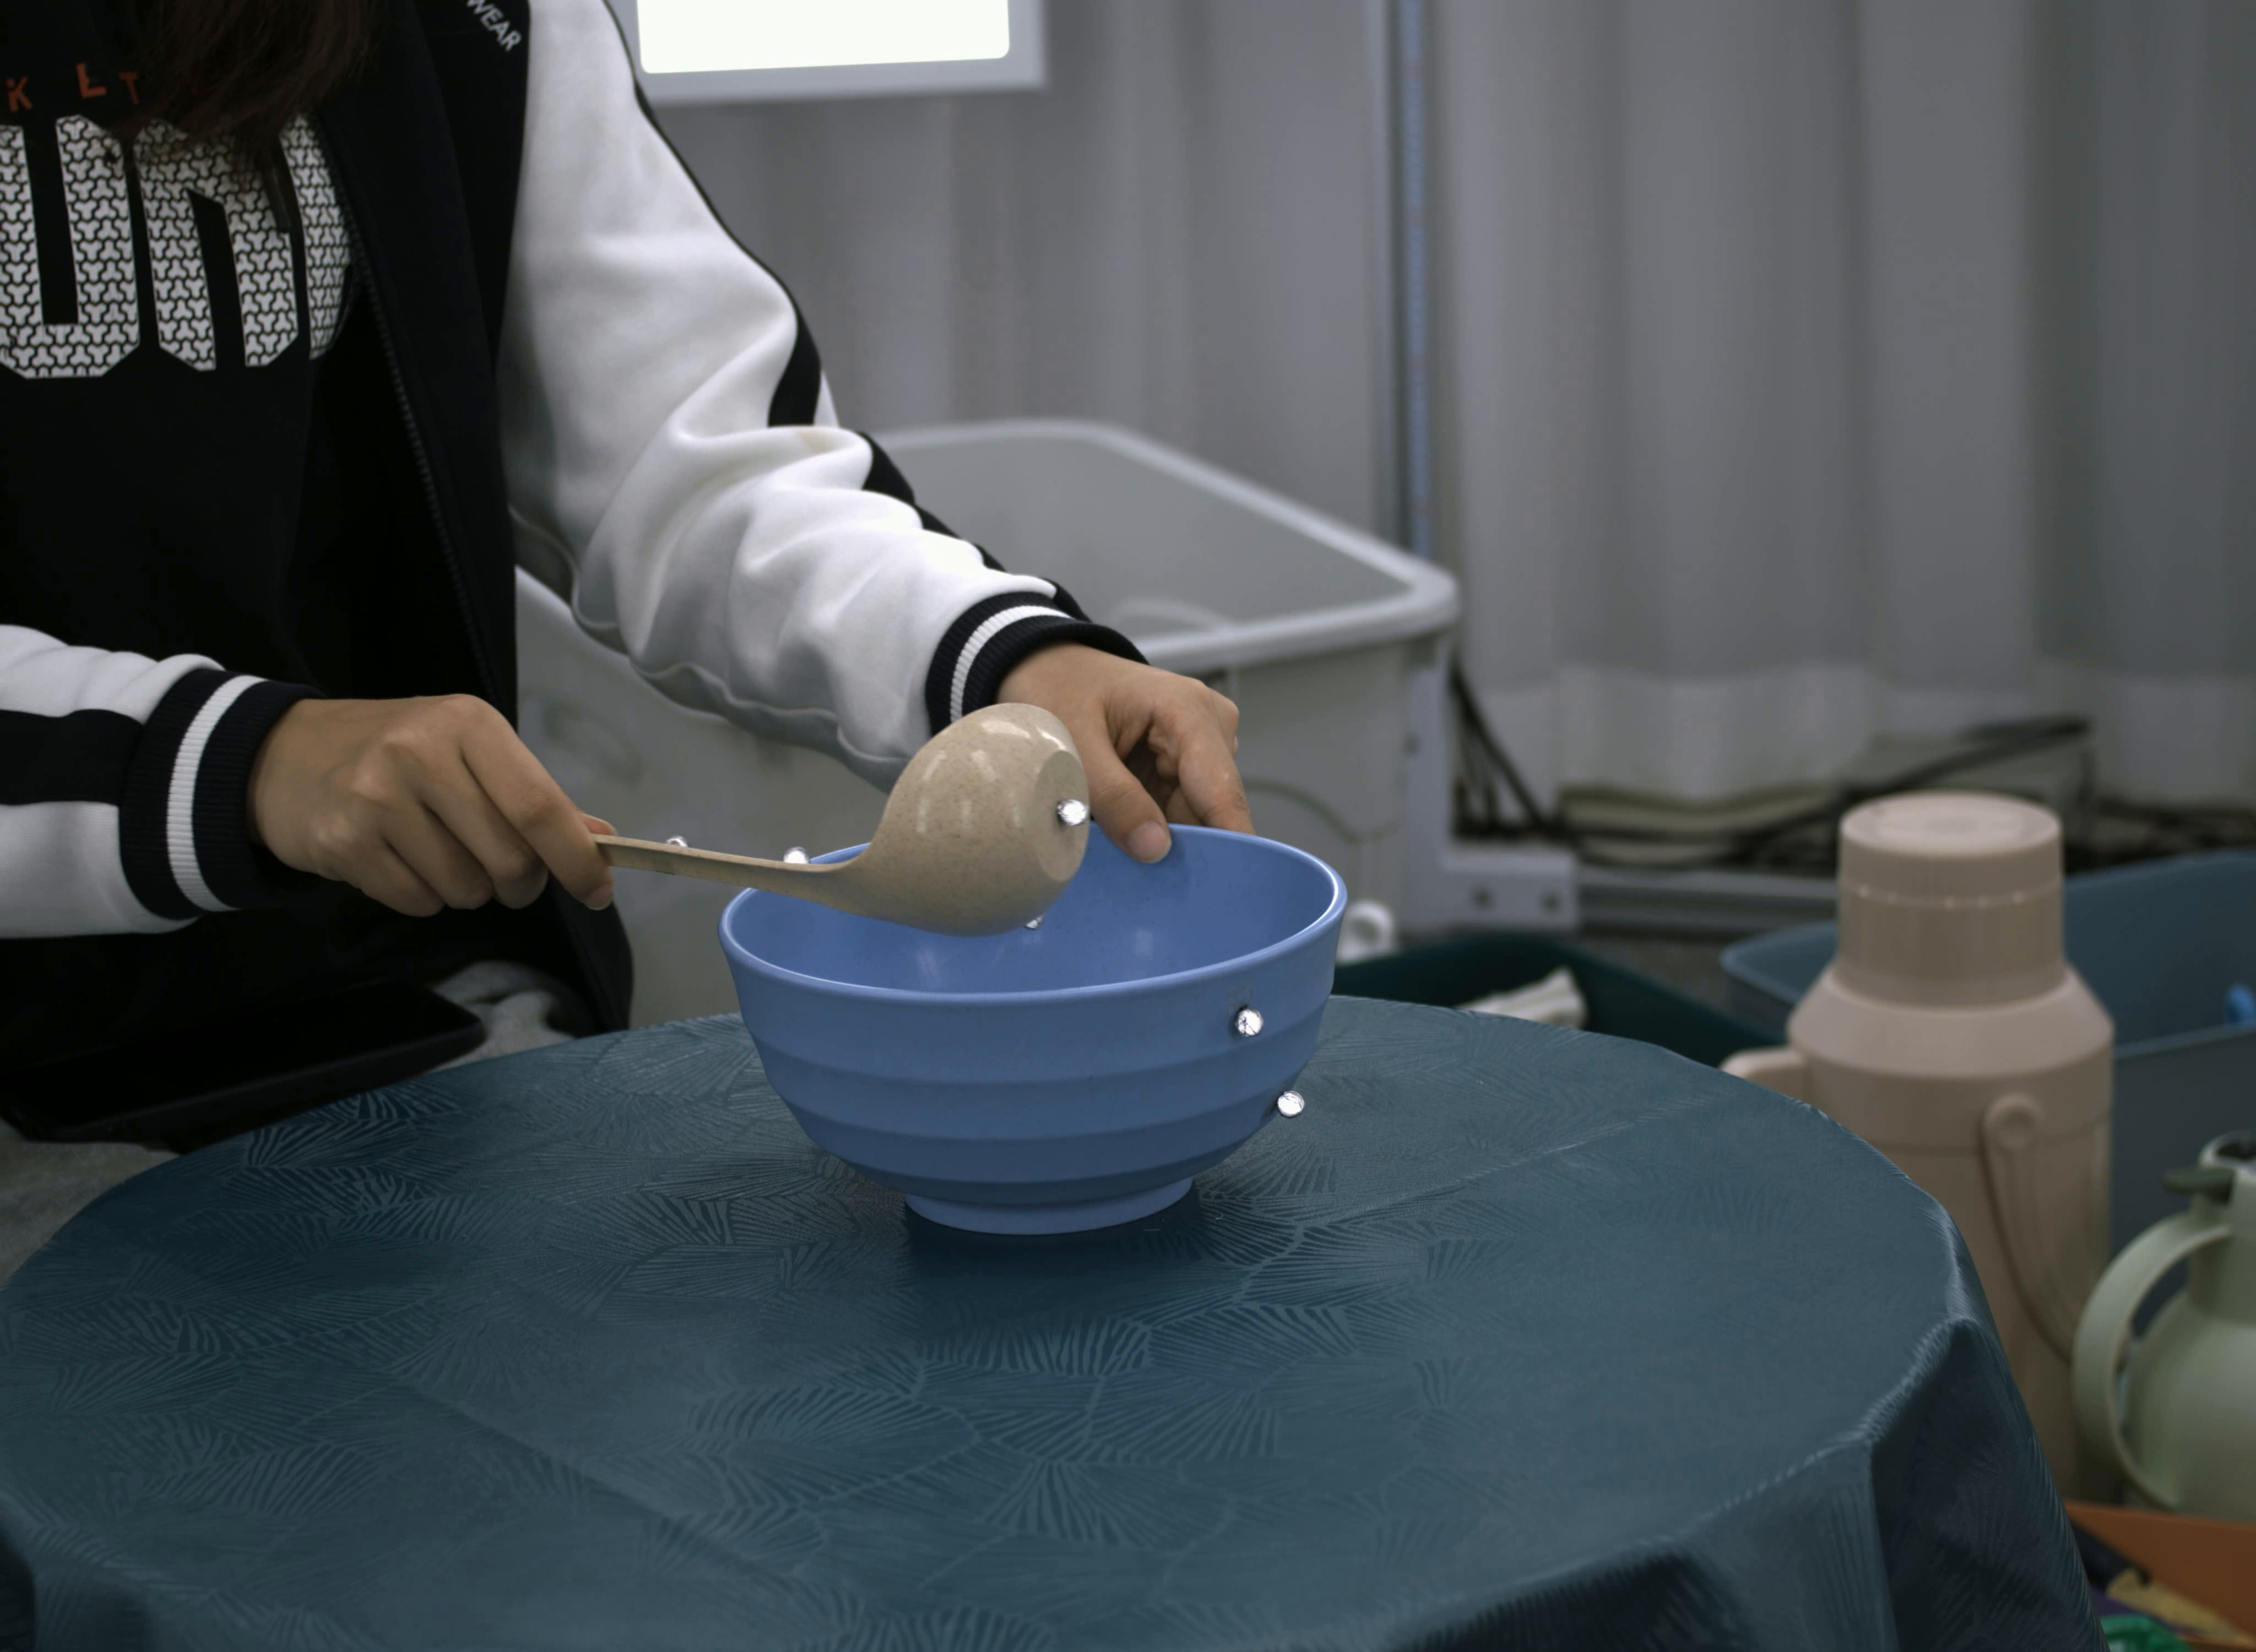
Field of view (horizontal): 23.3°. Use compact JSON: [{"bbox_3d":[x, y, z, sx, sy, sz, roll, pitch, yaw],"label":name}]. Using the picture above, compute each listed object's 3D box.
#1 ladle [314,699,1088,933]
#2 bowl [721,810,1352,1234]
[{"bbox_3d":[-0.132,-0.014,1.690,0.255,0.071,0.073,7,58,27],"label":"ladle"},{"bbox_3d":[-0.028,0.068,1.711,0.196,0.095,0.198,-1,16,0],"label":"bowl"}]
